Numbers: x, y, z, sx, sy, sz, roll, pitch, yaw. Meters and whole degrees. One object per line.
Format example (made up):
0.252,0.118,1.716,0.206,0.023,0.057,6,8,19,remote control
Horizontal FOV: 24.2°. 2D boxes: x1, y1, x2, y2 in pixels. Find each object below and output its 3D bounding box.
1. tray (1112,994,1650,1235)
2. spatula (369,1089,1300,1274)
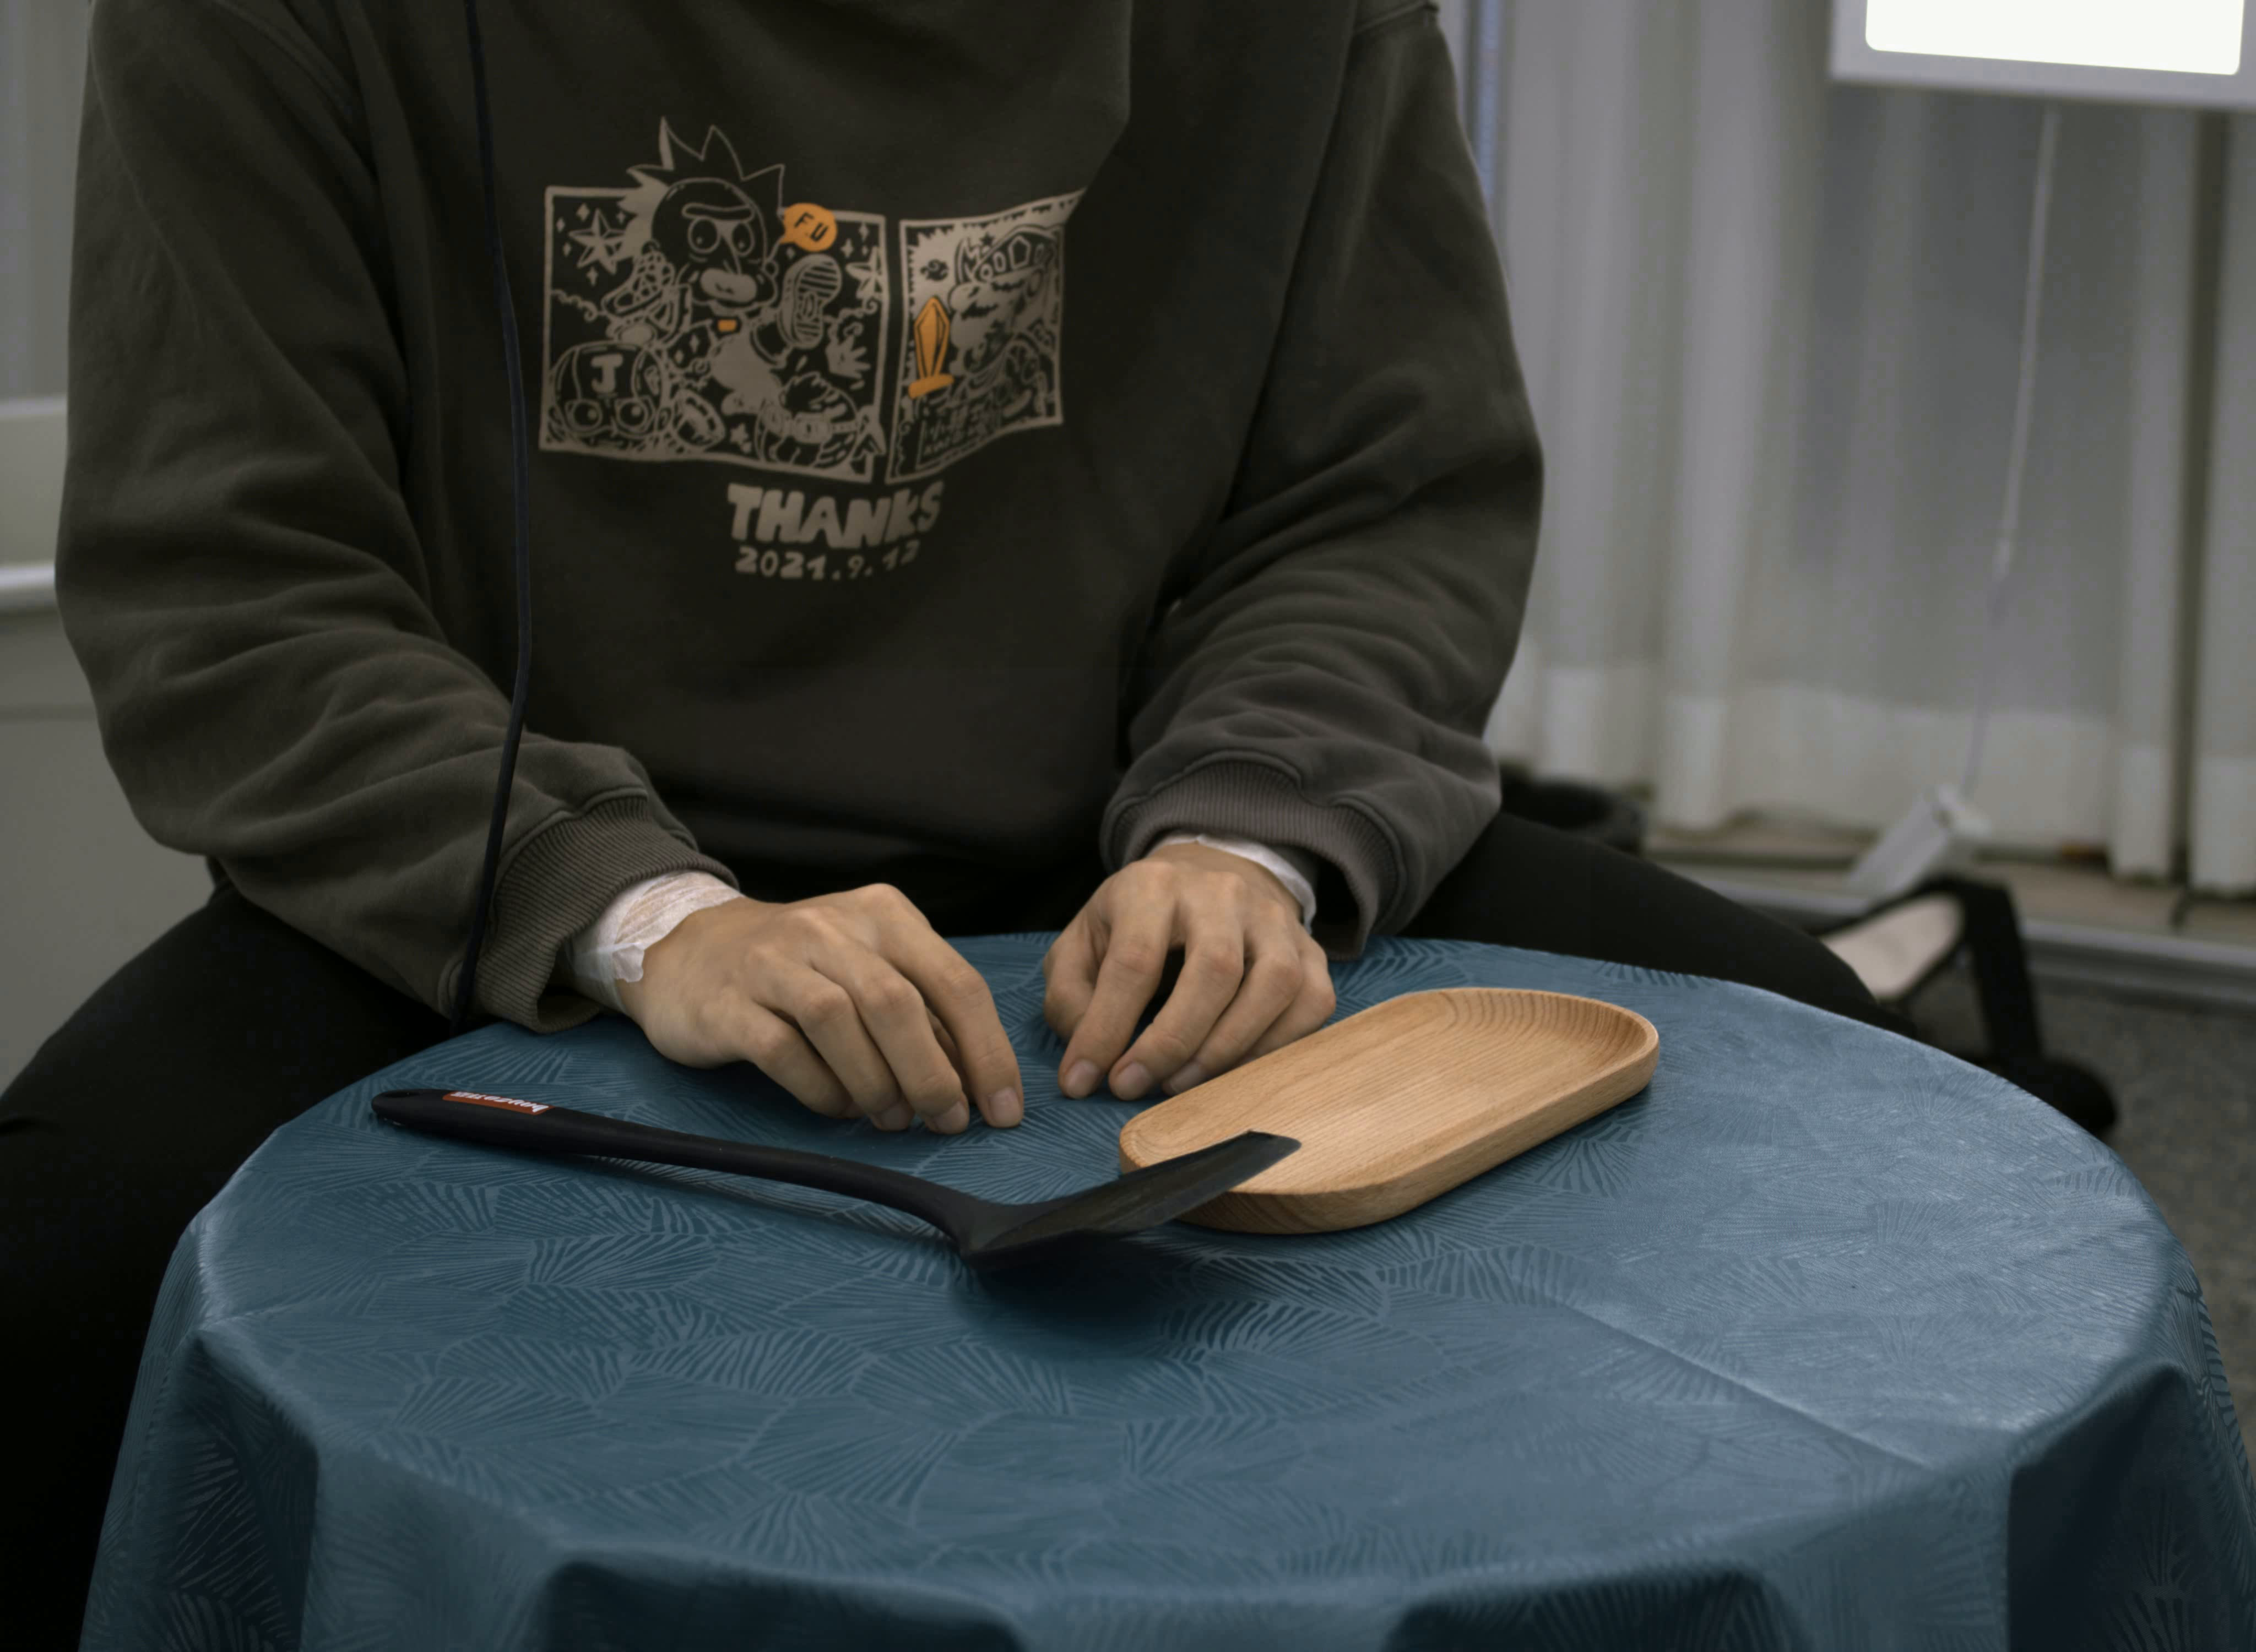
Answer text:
0.083,0.091,1.683,0.100,0.020,0.232,11,19,34,tray
-0.105,0.098,1.609,0.322,0.040,0.100,10,17,30,spatula
